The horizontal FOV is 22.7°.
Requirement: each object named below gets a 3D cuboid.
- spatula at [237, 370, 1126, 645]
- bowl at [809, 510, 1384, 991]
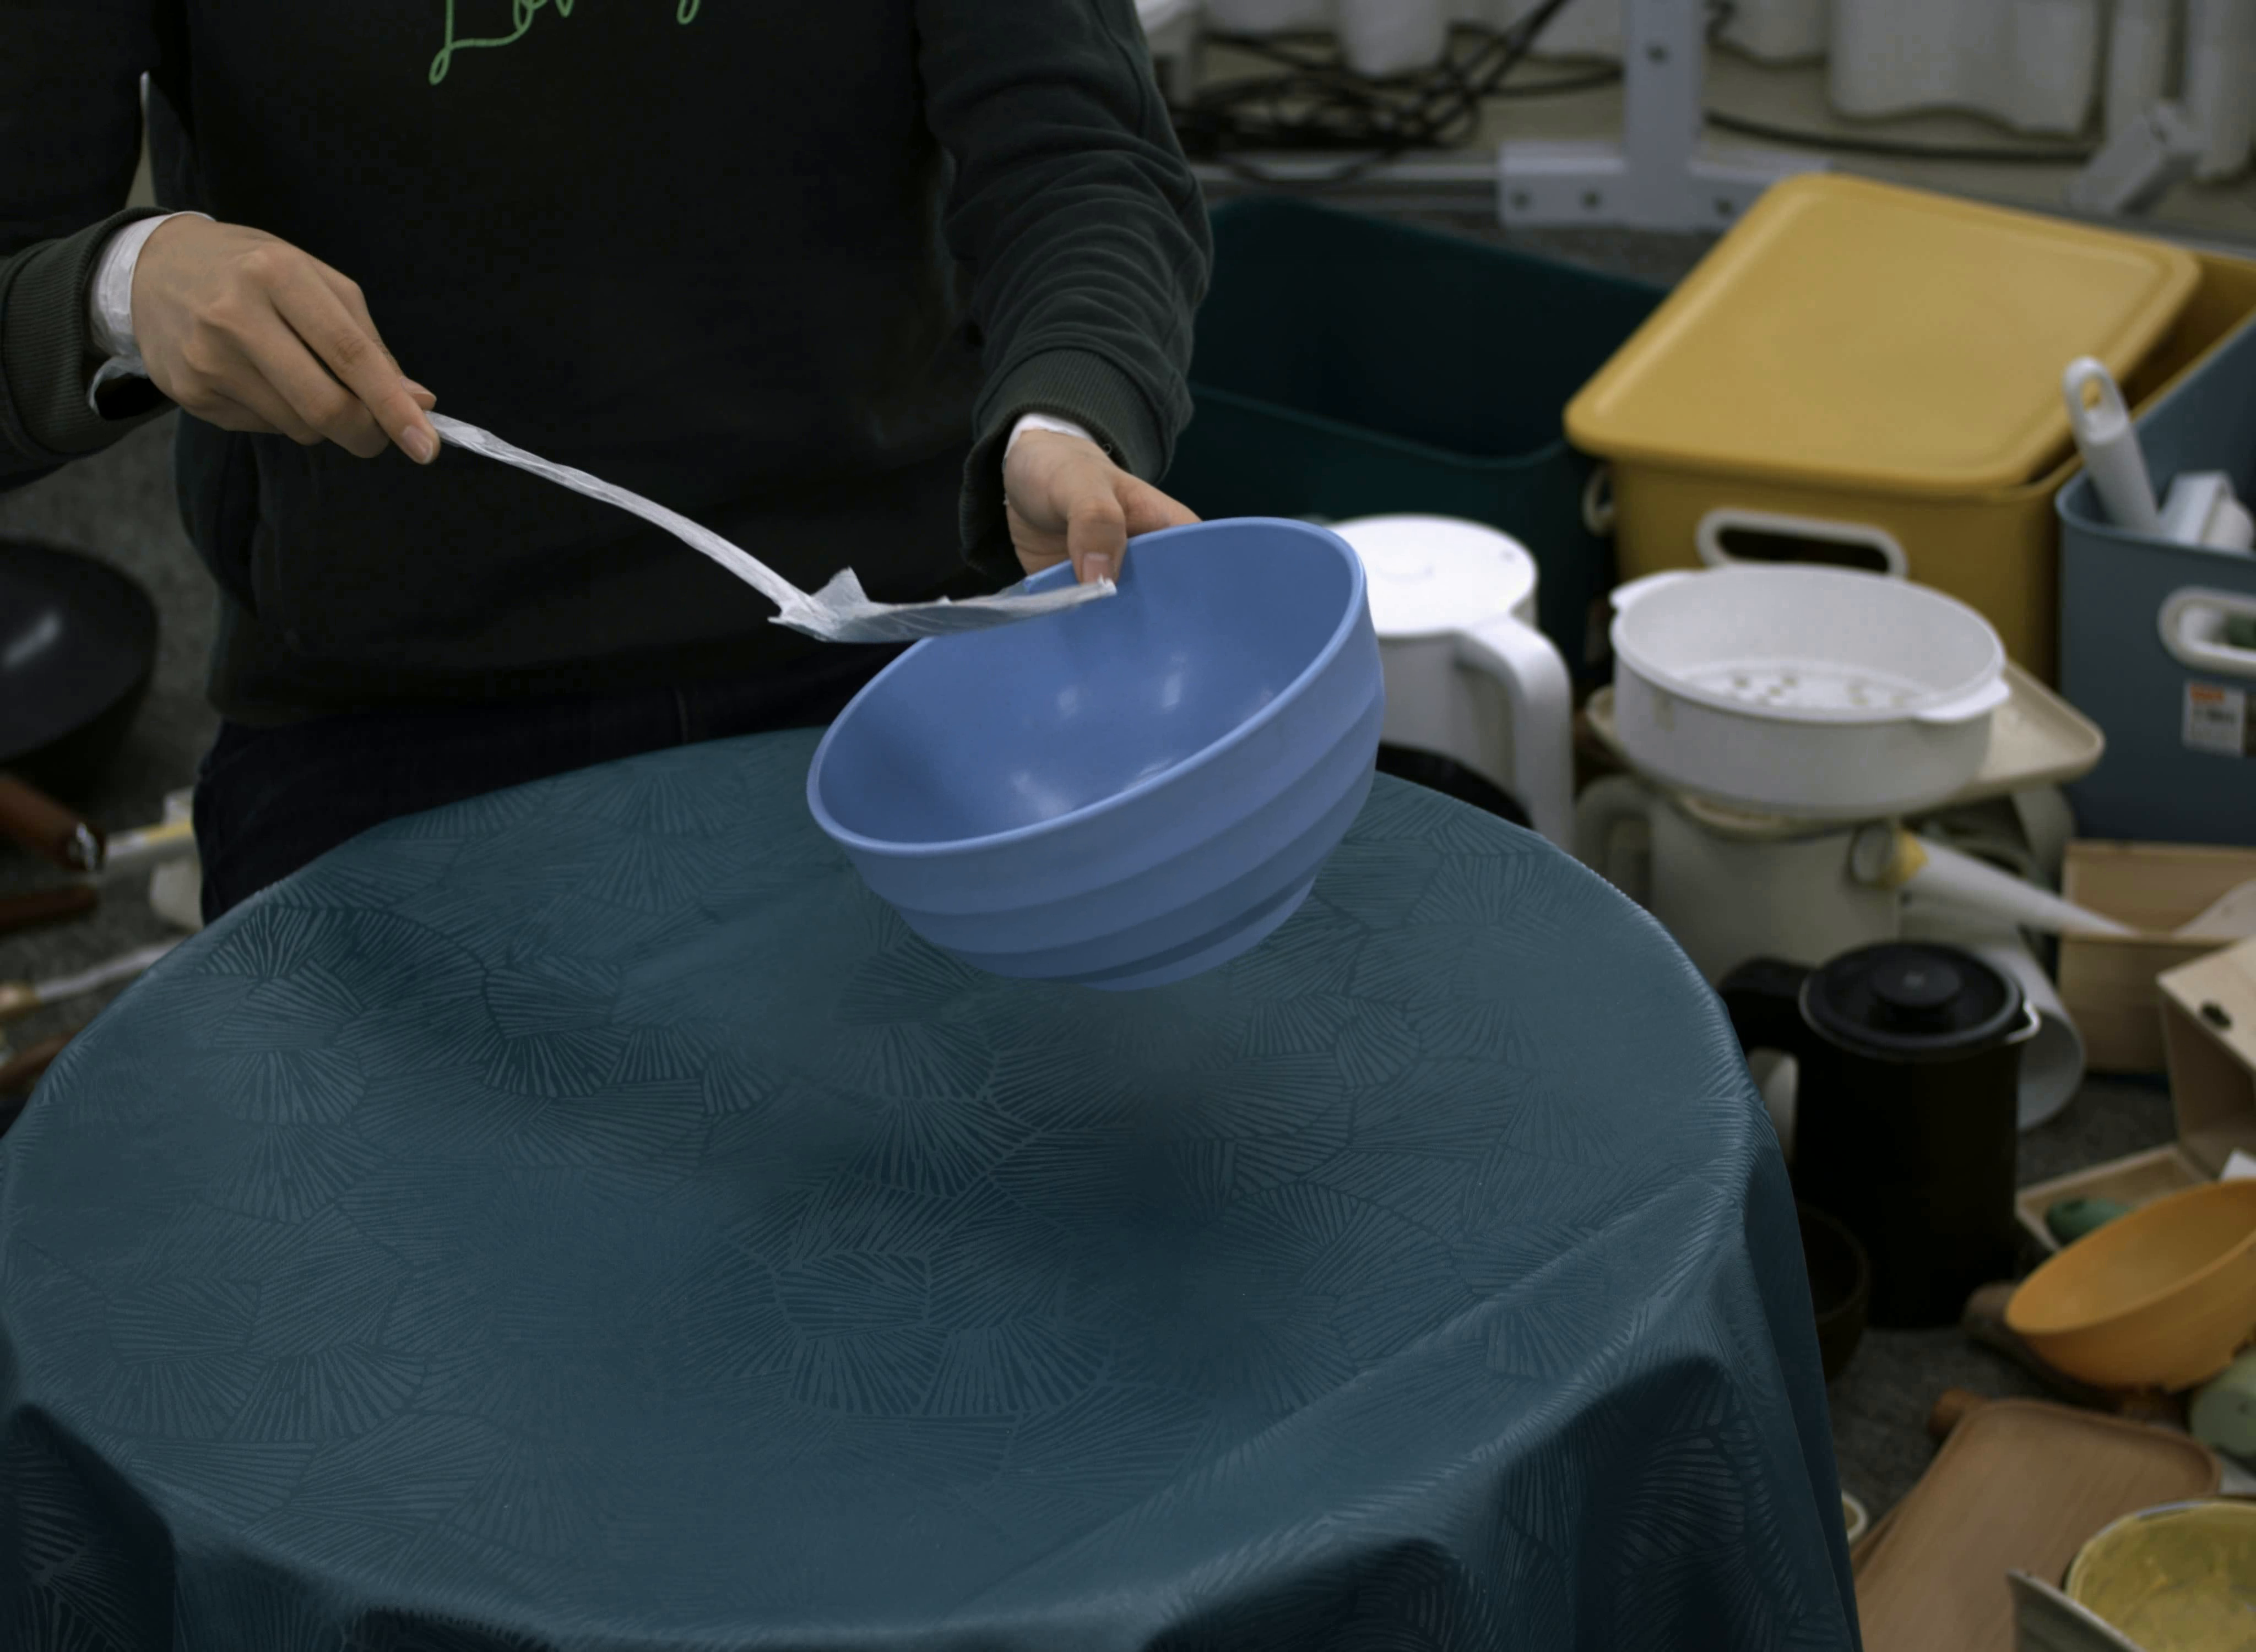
[{"bbox_3d":[-0.166,-0.113,1.873,0.364,0.044,0.099,23,18,29],"label":"spatula"},{"bbox_3d":[0.003,-0.010,1.839,0.195,0.094,0.199,-20,26,10],"label":"bowl"}]
